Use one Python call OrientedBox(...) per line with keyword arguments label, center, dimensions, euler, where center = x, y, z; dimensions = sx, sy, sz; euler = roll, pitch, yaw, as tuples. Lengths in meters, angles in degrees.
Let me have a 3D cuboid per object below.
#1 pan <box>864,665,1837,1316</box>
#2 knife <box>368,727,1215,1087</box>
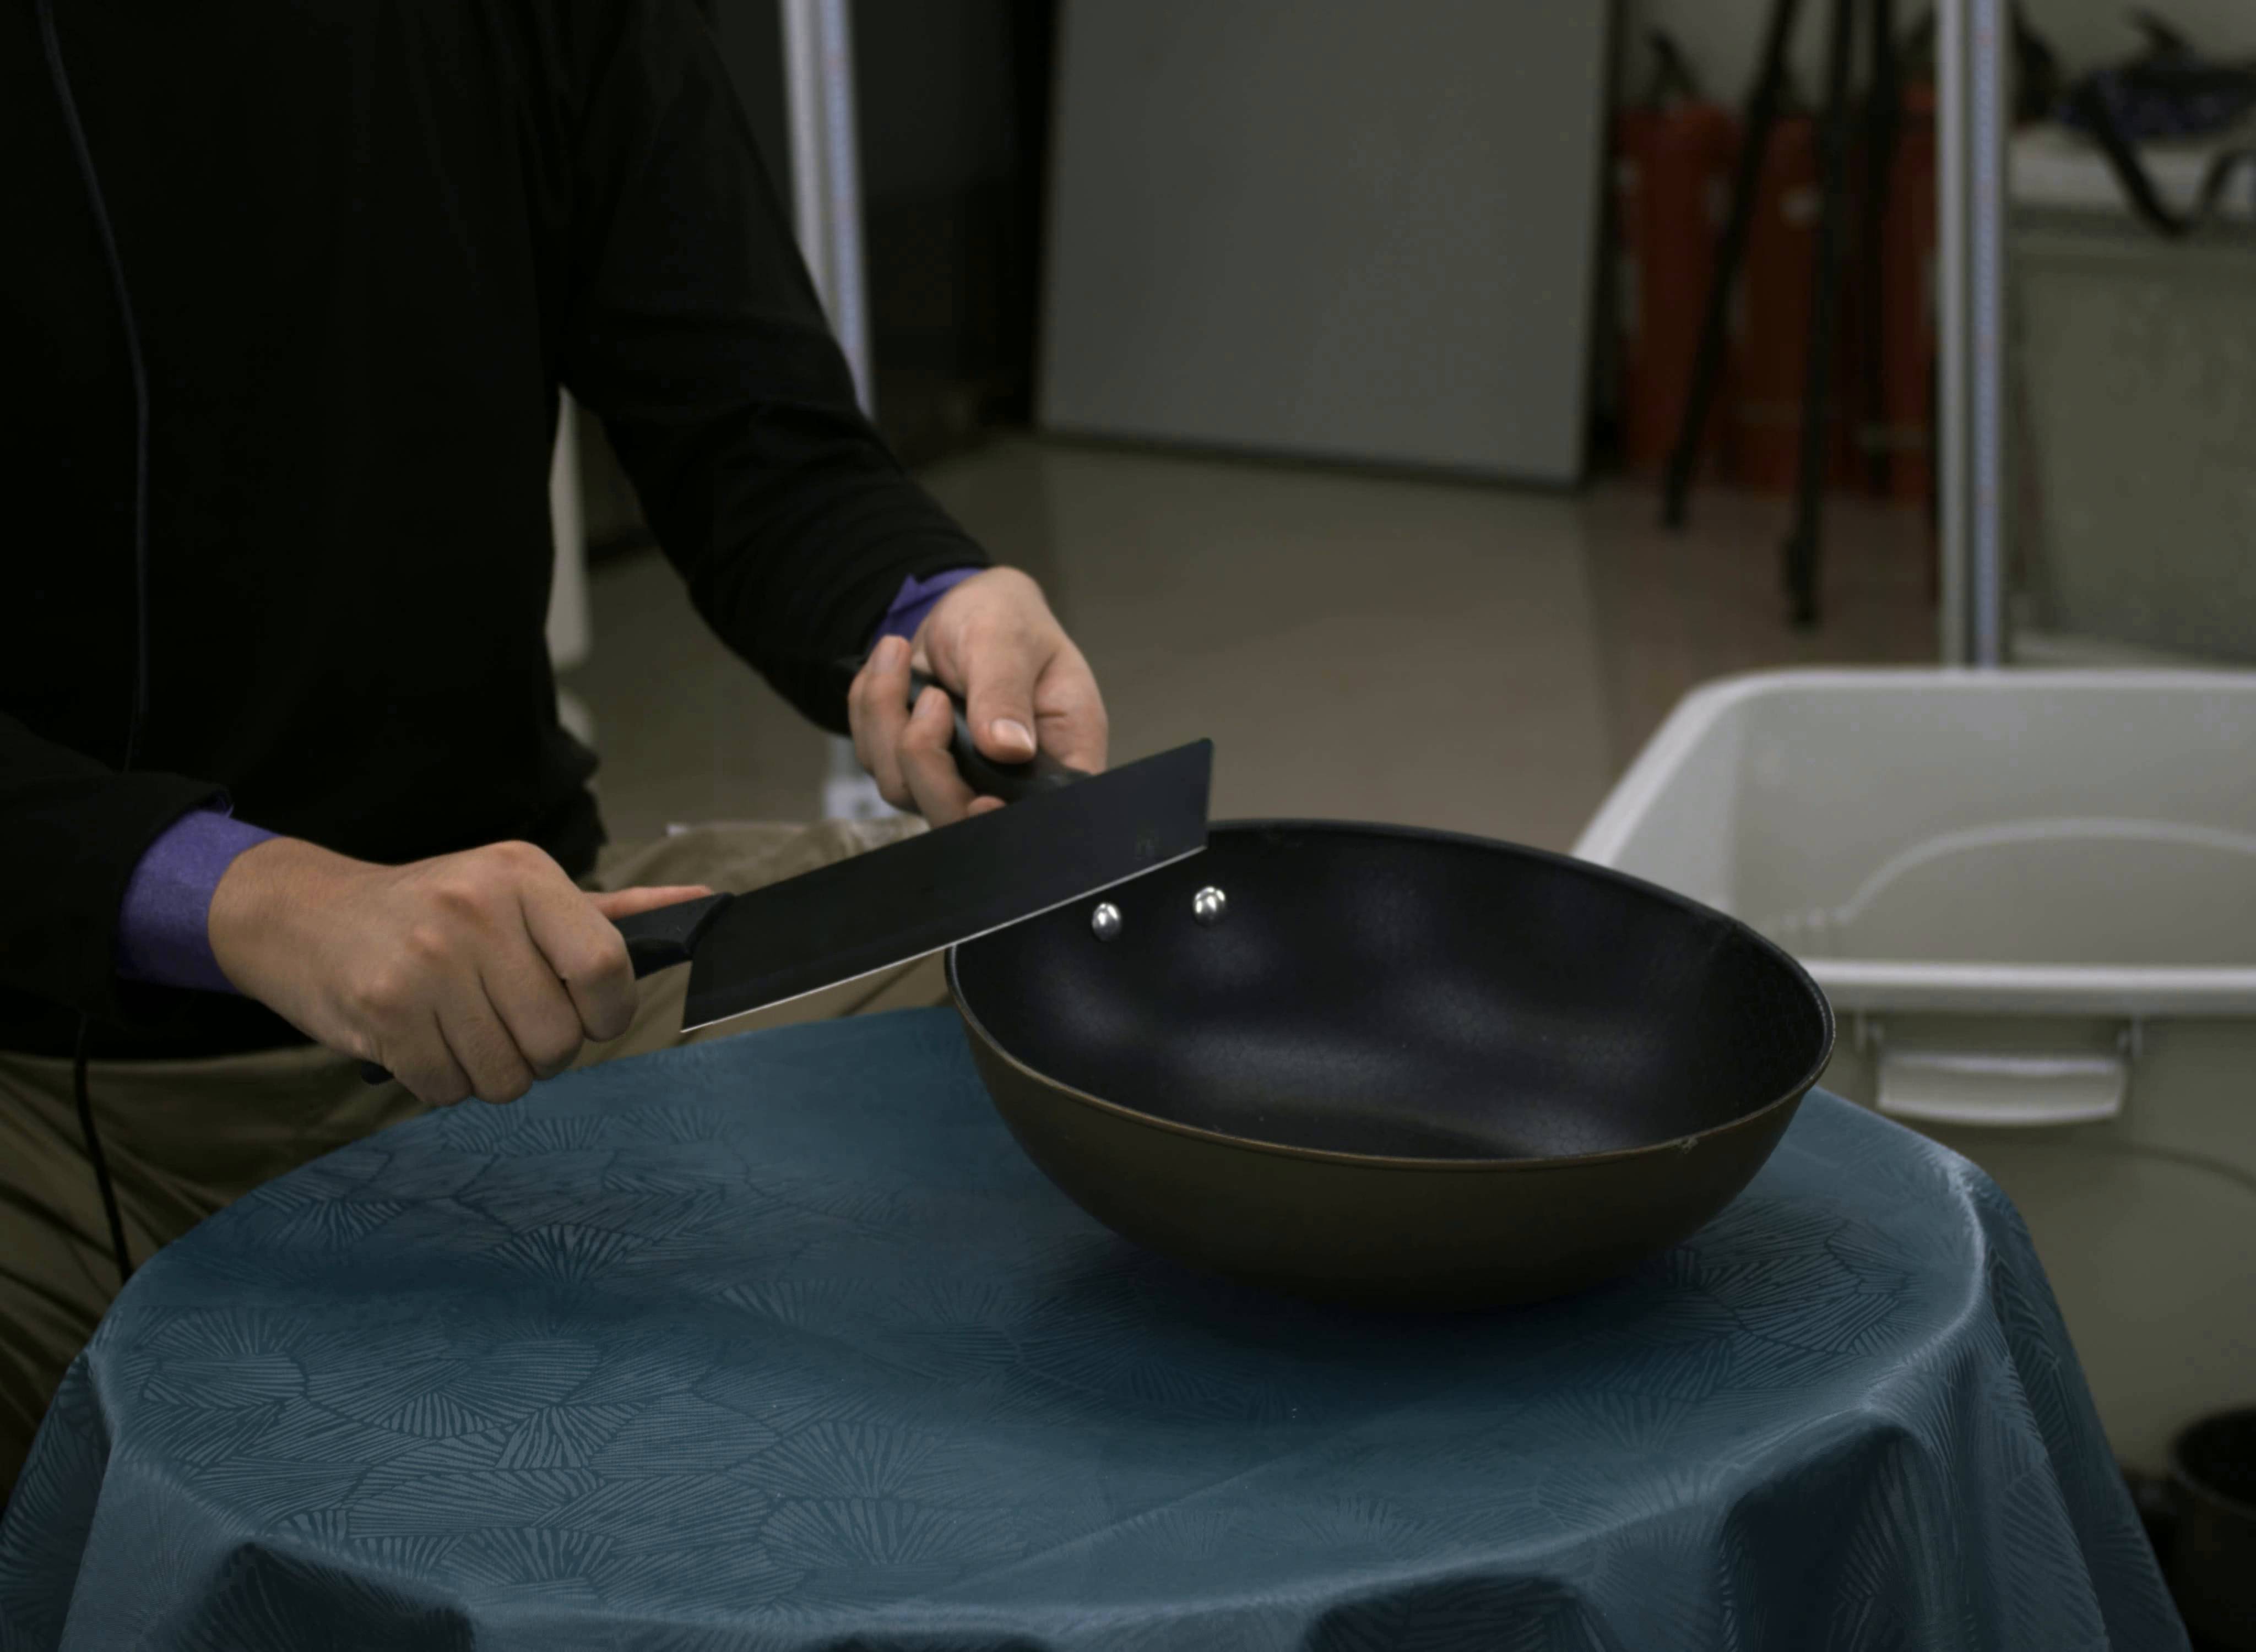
OrientedBox(label="pan", center=(0.029, 0.053, 1.757), dimensions=(0.281, 0.088, 0.468), euler=(-9, 24, -32))
OrientedBox(label="knife", center=(-0.107, 0.032, 1.700), dimensions=(0.302, 0.021, 0.081), euler=(-17, 32, 22))
